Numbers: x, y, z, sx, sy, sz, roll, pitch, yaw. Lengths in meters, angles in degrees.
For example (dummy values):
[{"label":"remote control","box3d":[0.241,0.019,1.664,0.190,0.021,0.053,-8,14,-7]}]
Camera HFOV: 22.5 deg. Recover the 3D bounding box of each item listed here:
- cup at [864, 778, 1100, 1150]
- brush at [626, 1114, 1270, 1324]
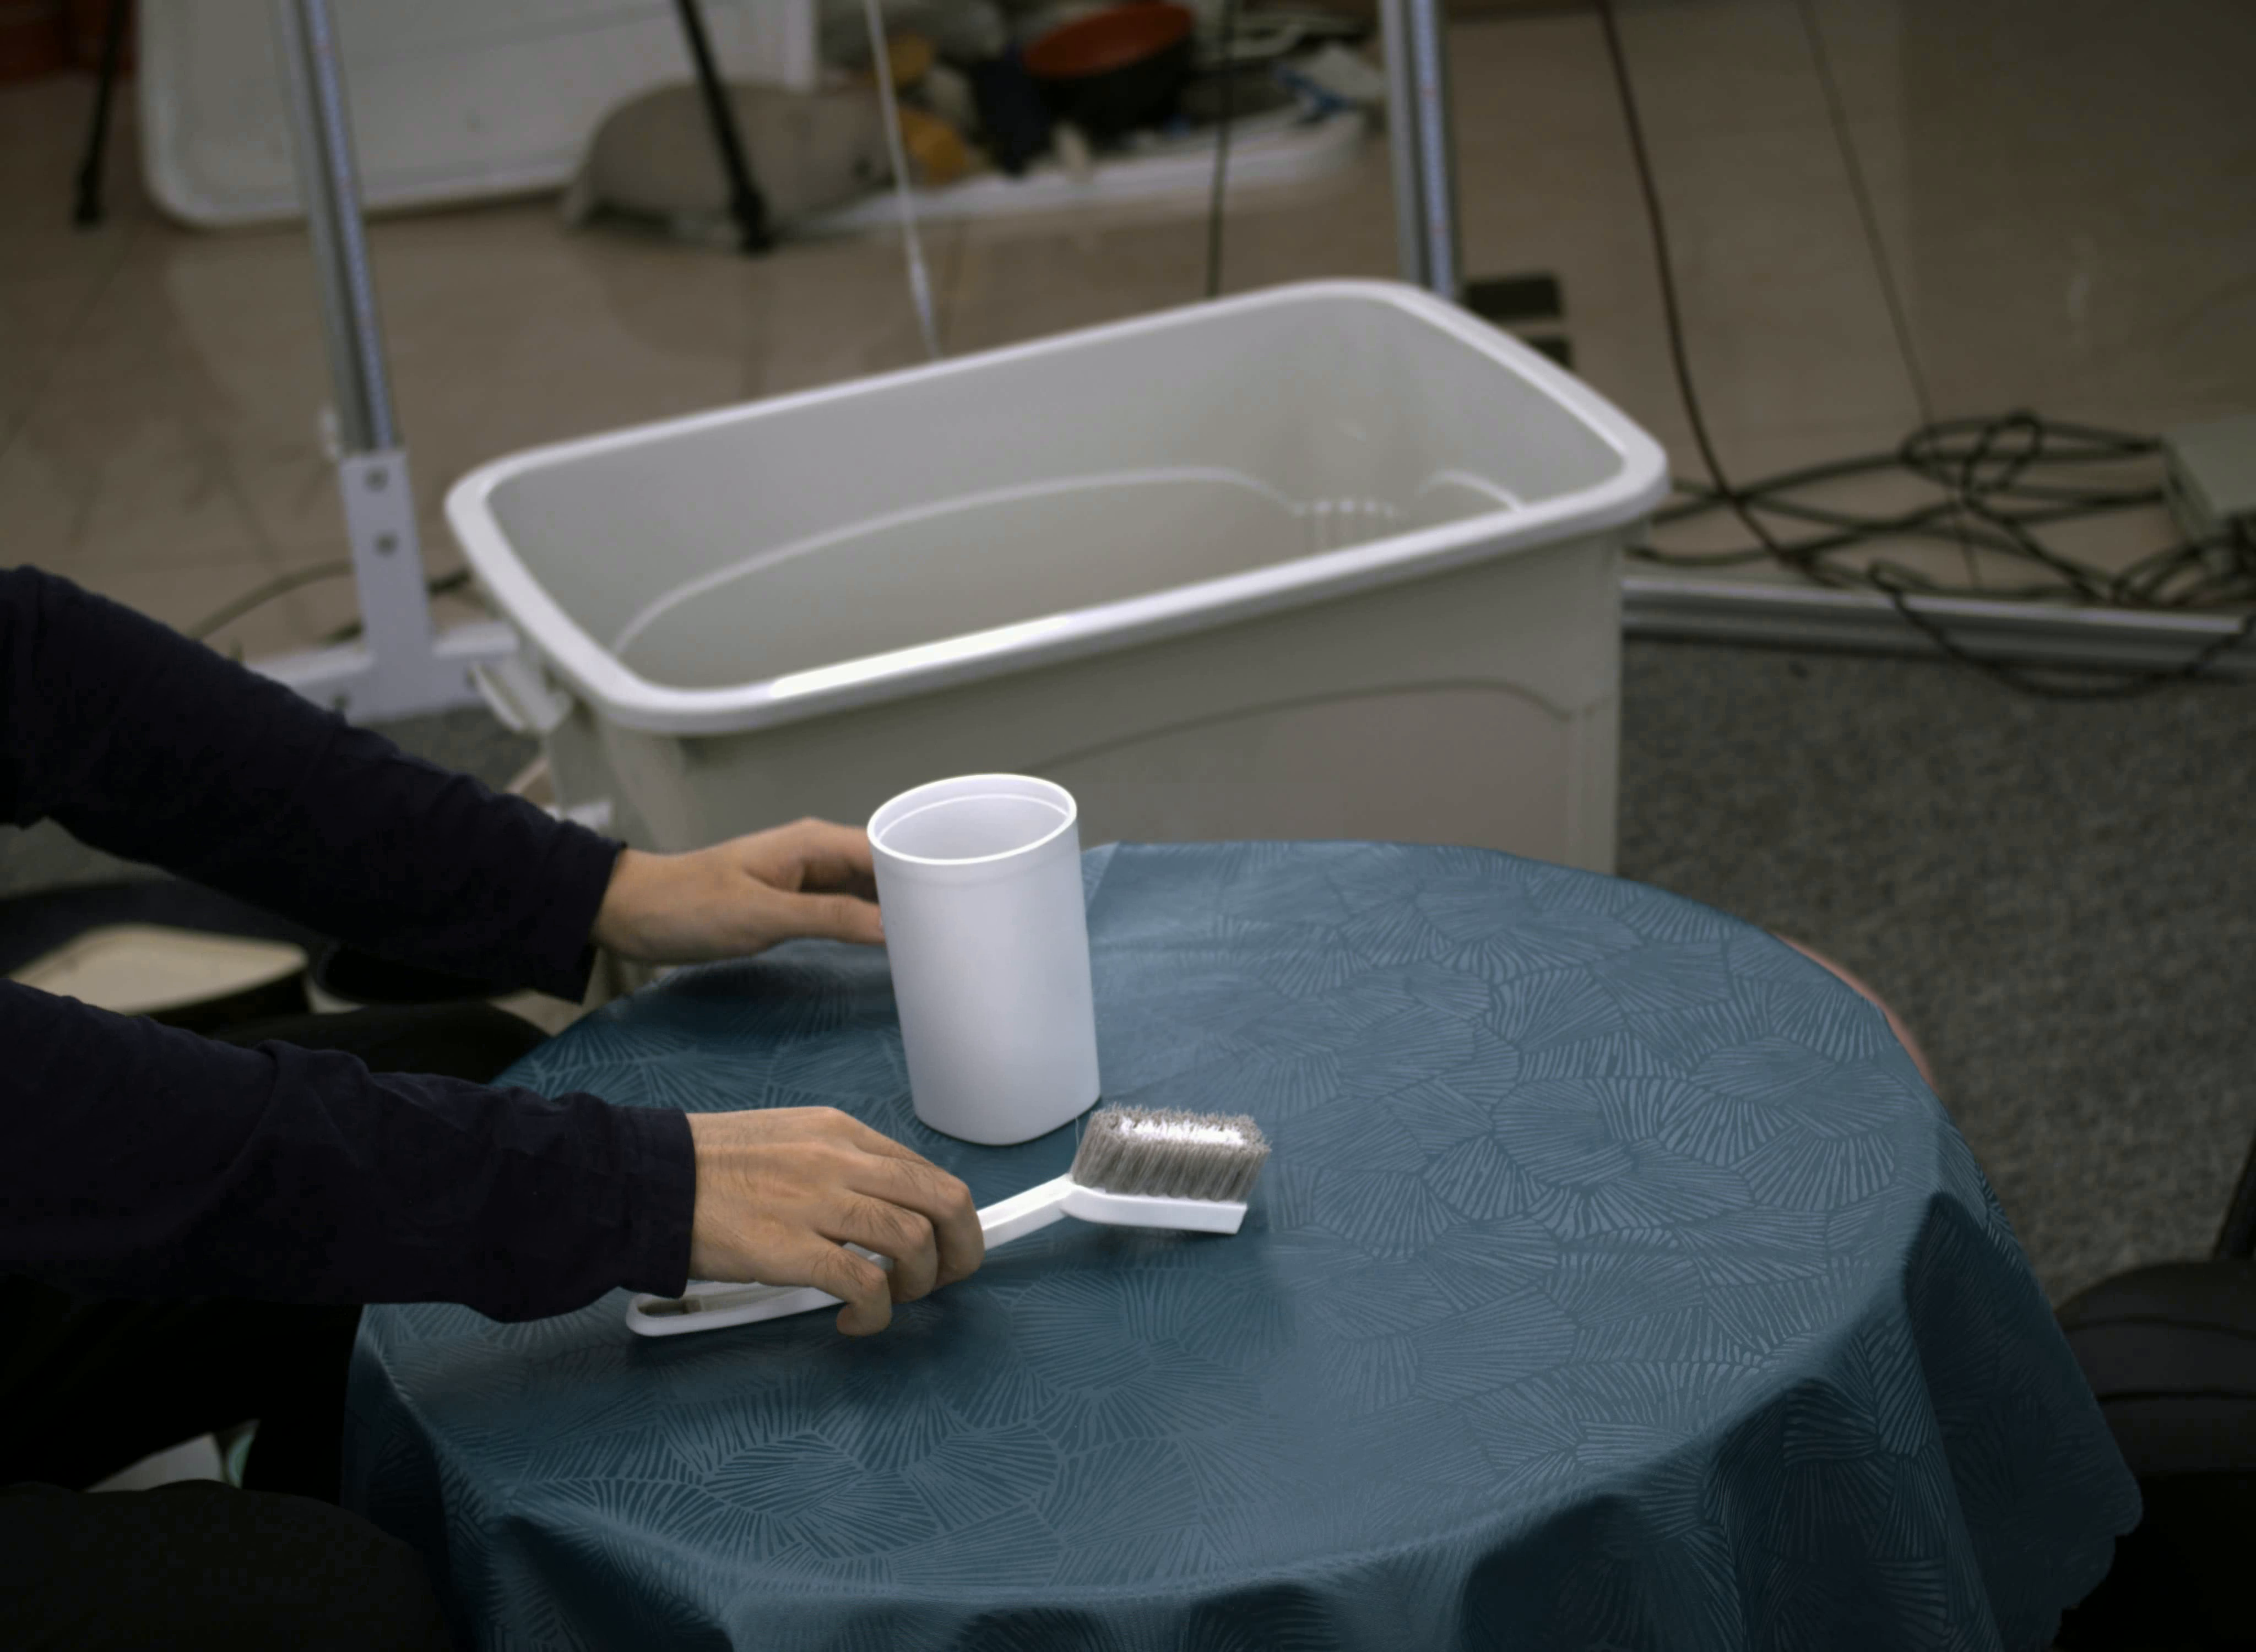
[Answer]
[{"label":"cup","box3d":[-0.054,0.054,2.196,0.081,0.127,0.080,-6,25,3]},{"label":"brush","box3d":[-0.068,0.143,2.098,0.243,0.051,0.034,-9,34,-5]}]
